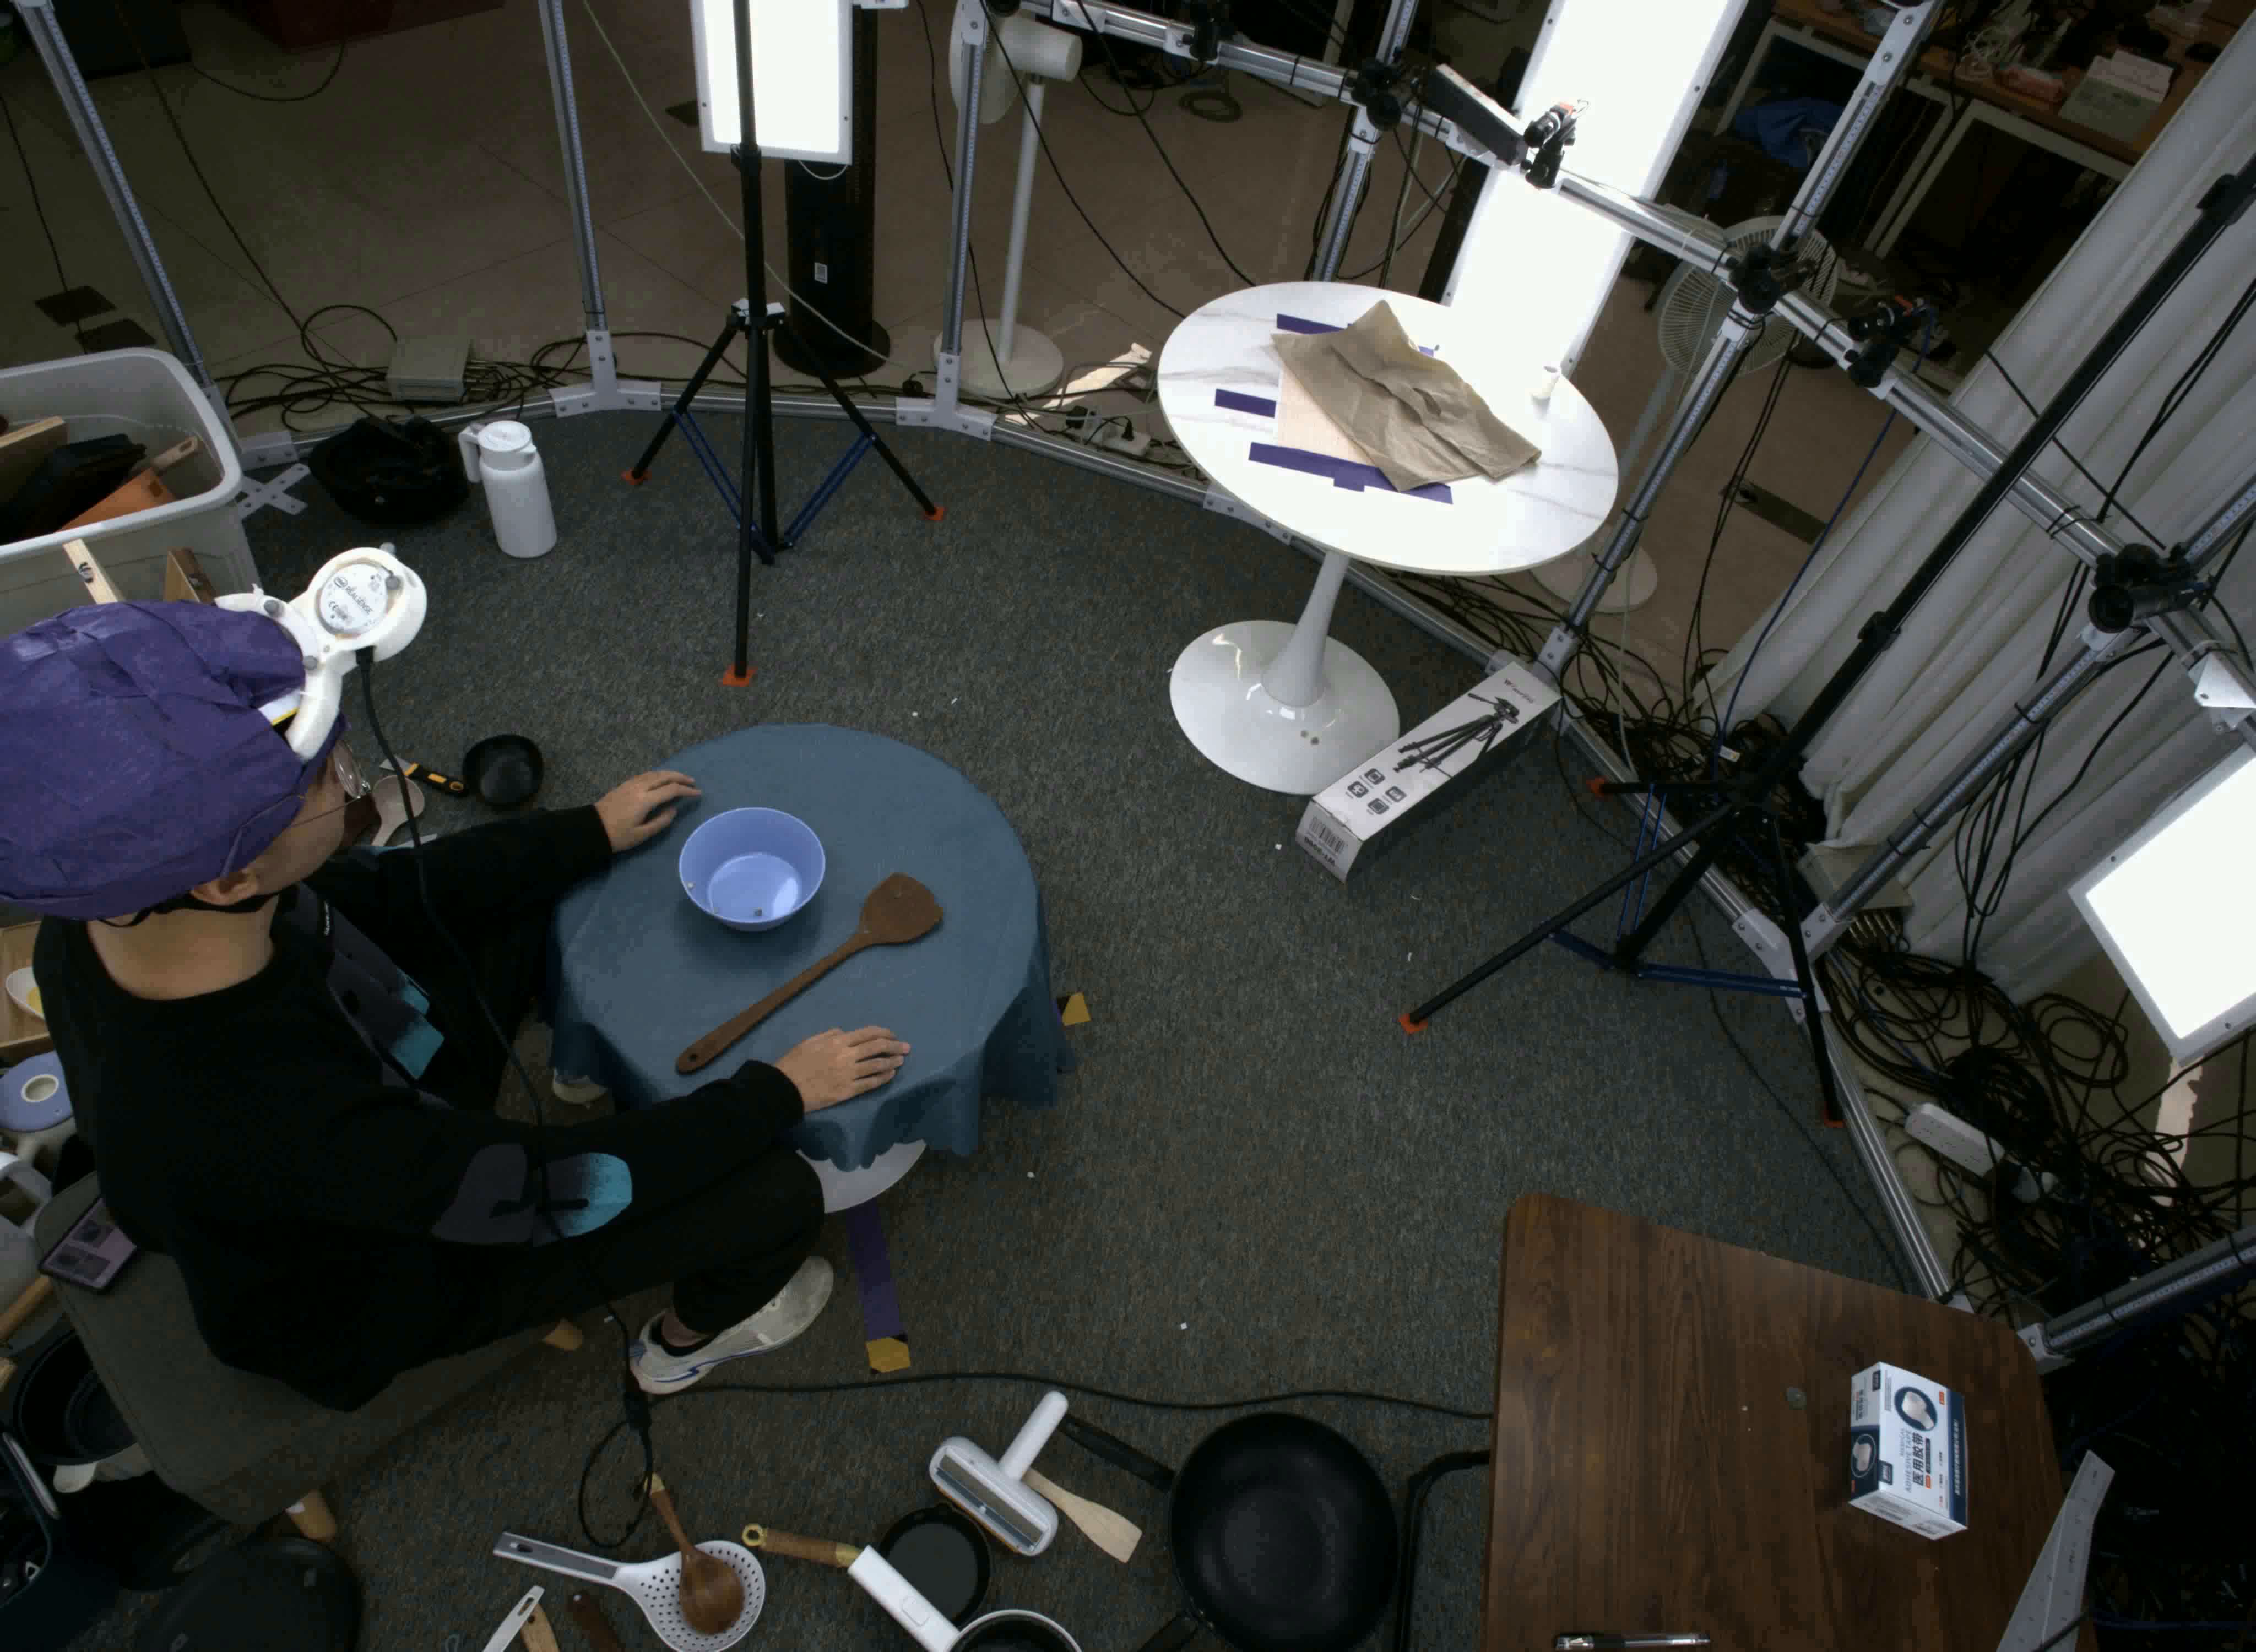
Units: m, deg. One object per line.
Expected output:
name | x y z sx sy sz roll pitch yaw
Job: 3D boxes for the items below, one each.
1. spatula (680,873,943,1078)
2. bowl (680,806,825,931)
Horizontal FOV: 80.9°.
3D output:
spatula | -0.389 0.182 1.593 0.094 0.016 0.386 41 55 17
bowl | -0.468 0.063 1.626 0.175 0.072 0.173 7 54 -8
